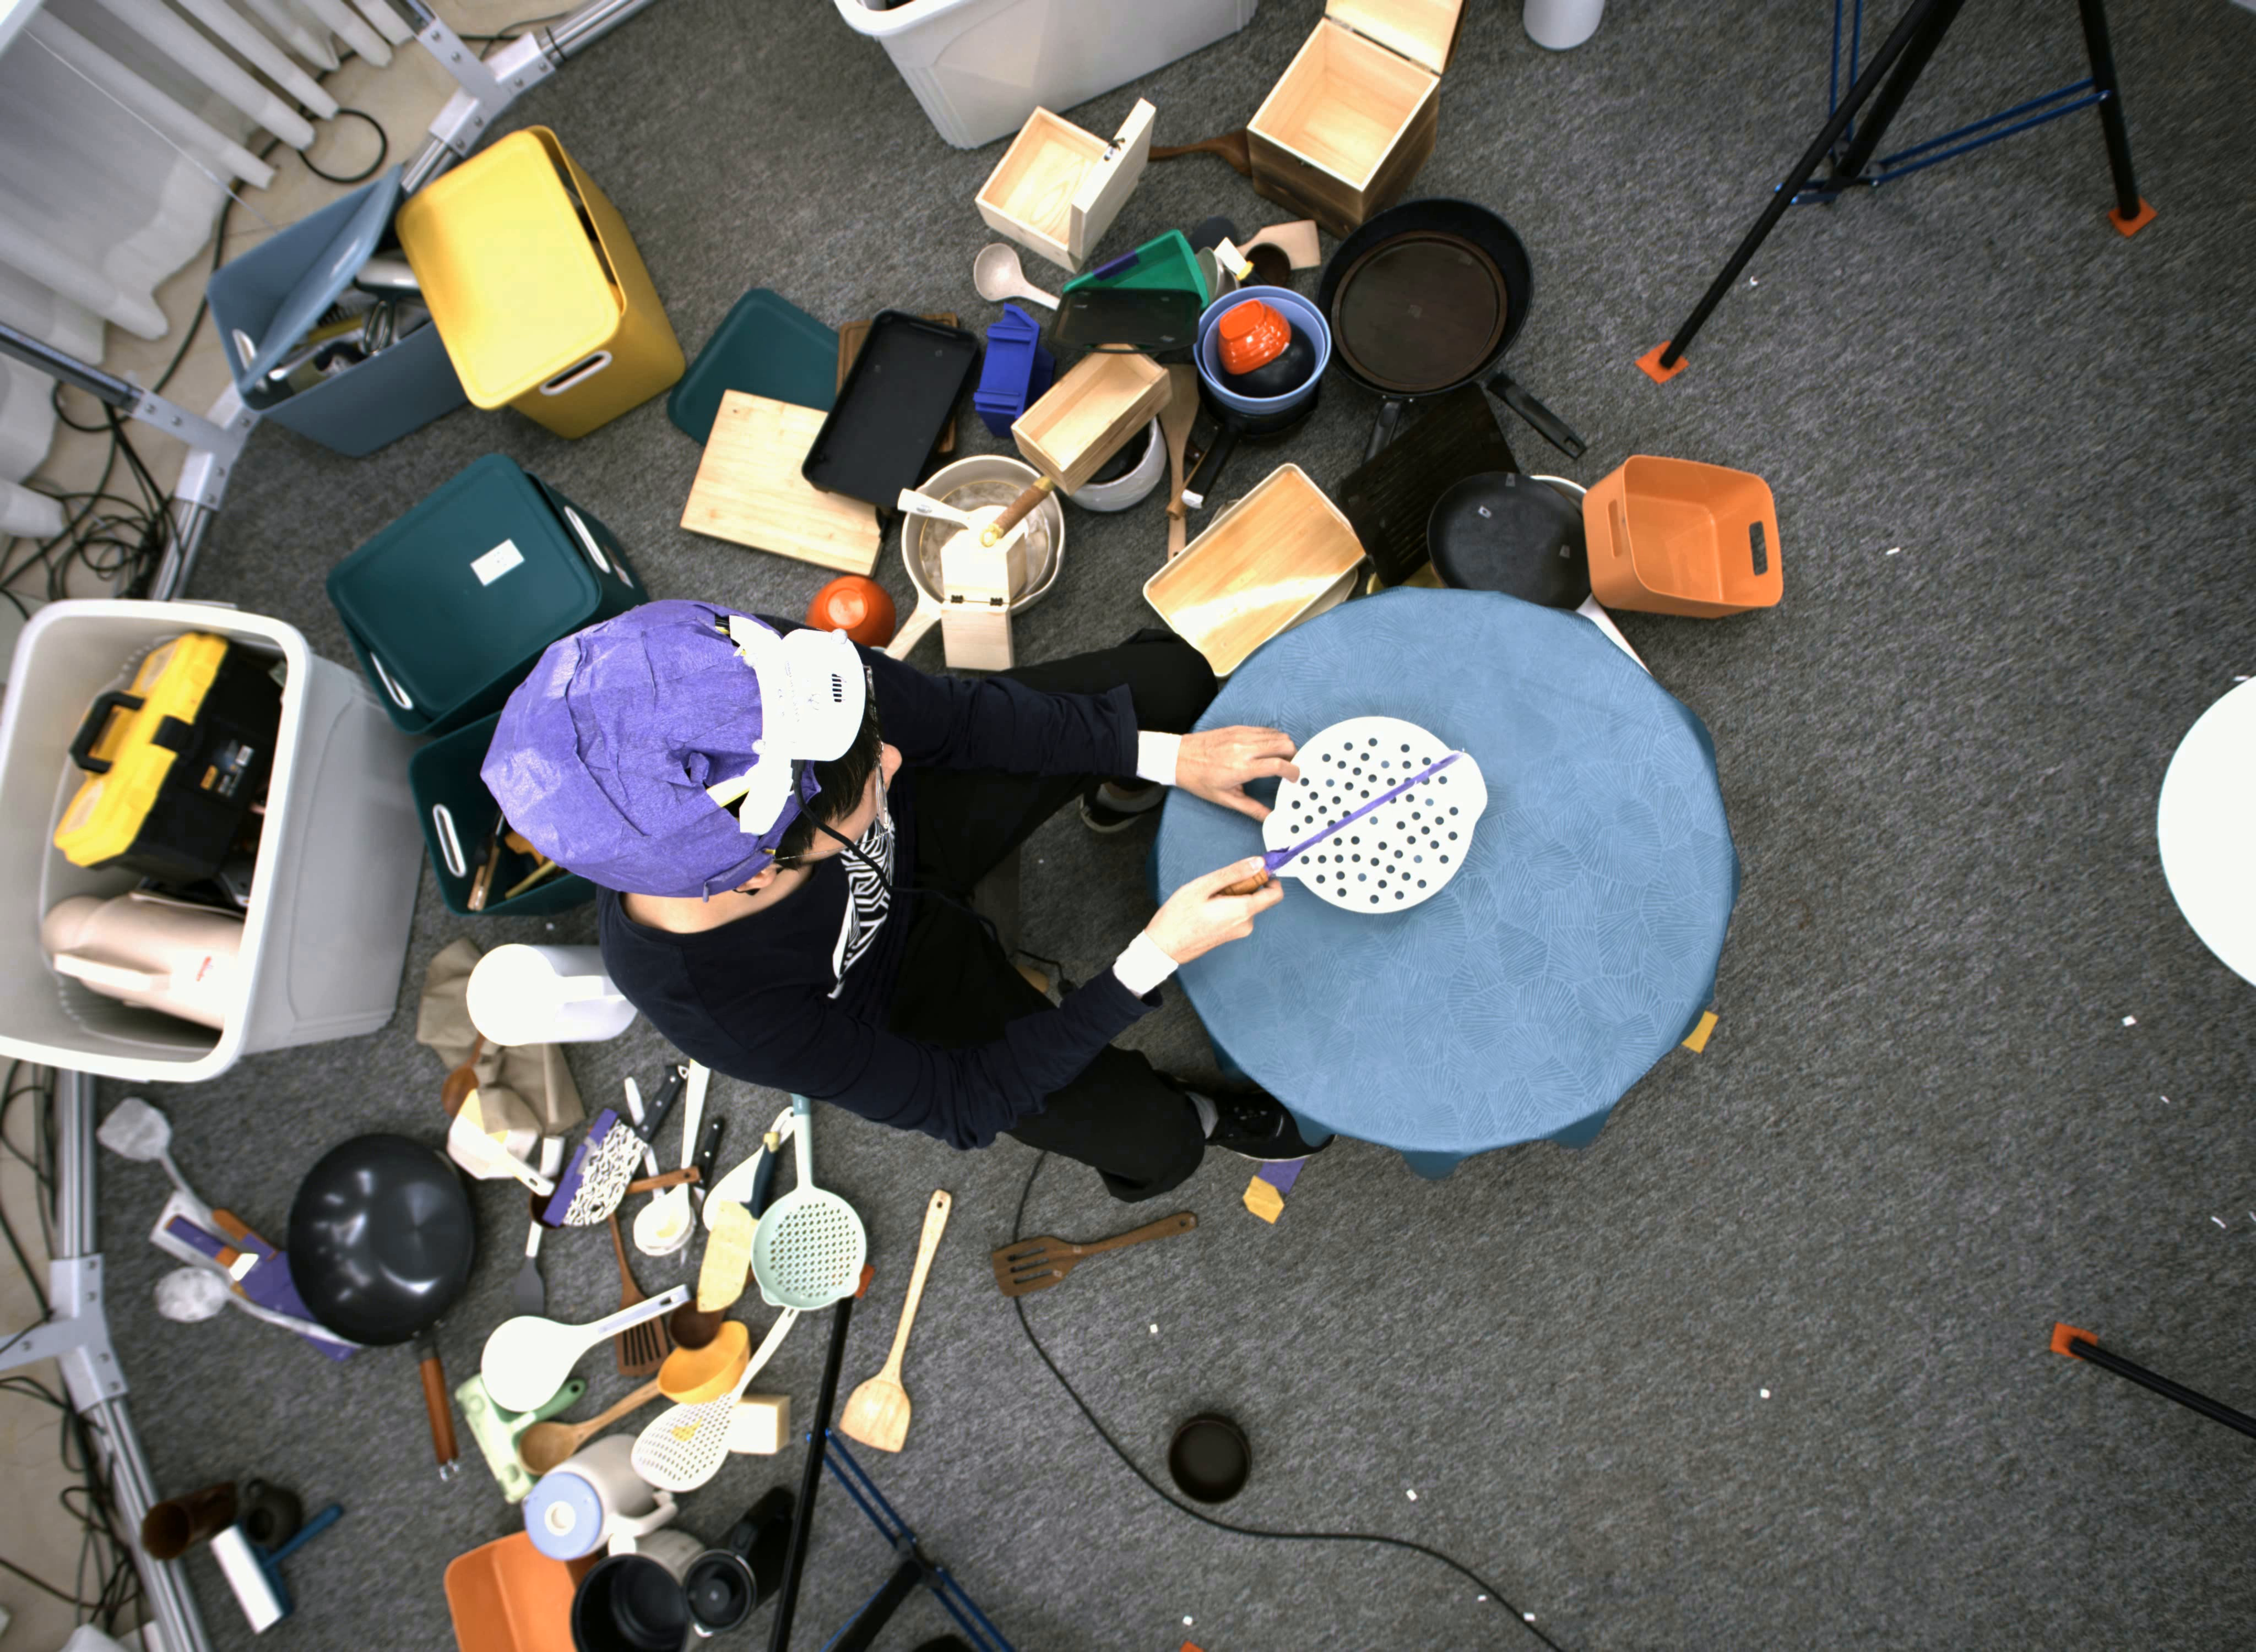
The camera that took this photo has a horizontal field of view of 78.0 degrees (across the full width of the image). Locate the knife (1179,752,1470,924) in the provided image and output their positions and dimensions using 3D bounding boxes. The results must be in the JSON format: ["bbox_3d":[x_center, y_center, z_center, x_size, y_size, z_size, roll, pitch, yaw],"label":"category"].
[{"bbox_3d":[0.197,0.012,1.362,0.317,0.104,0.032,-29,80,8],"label":"knife"}]

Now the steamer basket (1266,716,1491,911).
[{"bbox_3d":[0.261,-0.012,1.434,0.232,0.069,0.200,-19,82,12],"label":"steamer basket"}]
